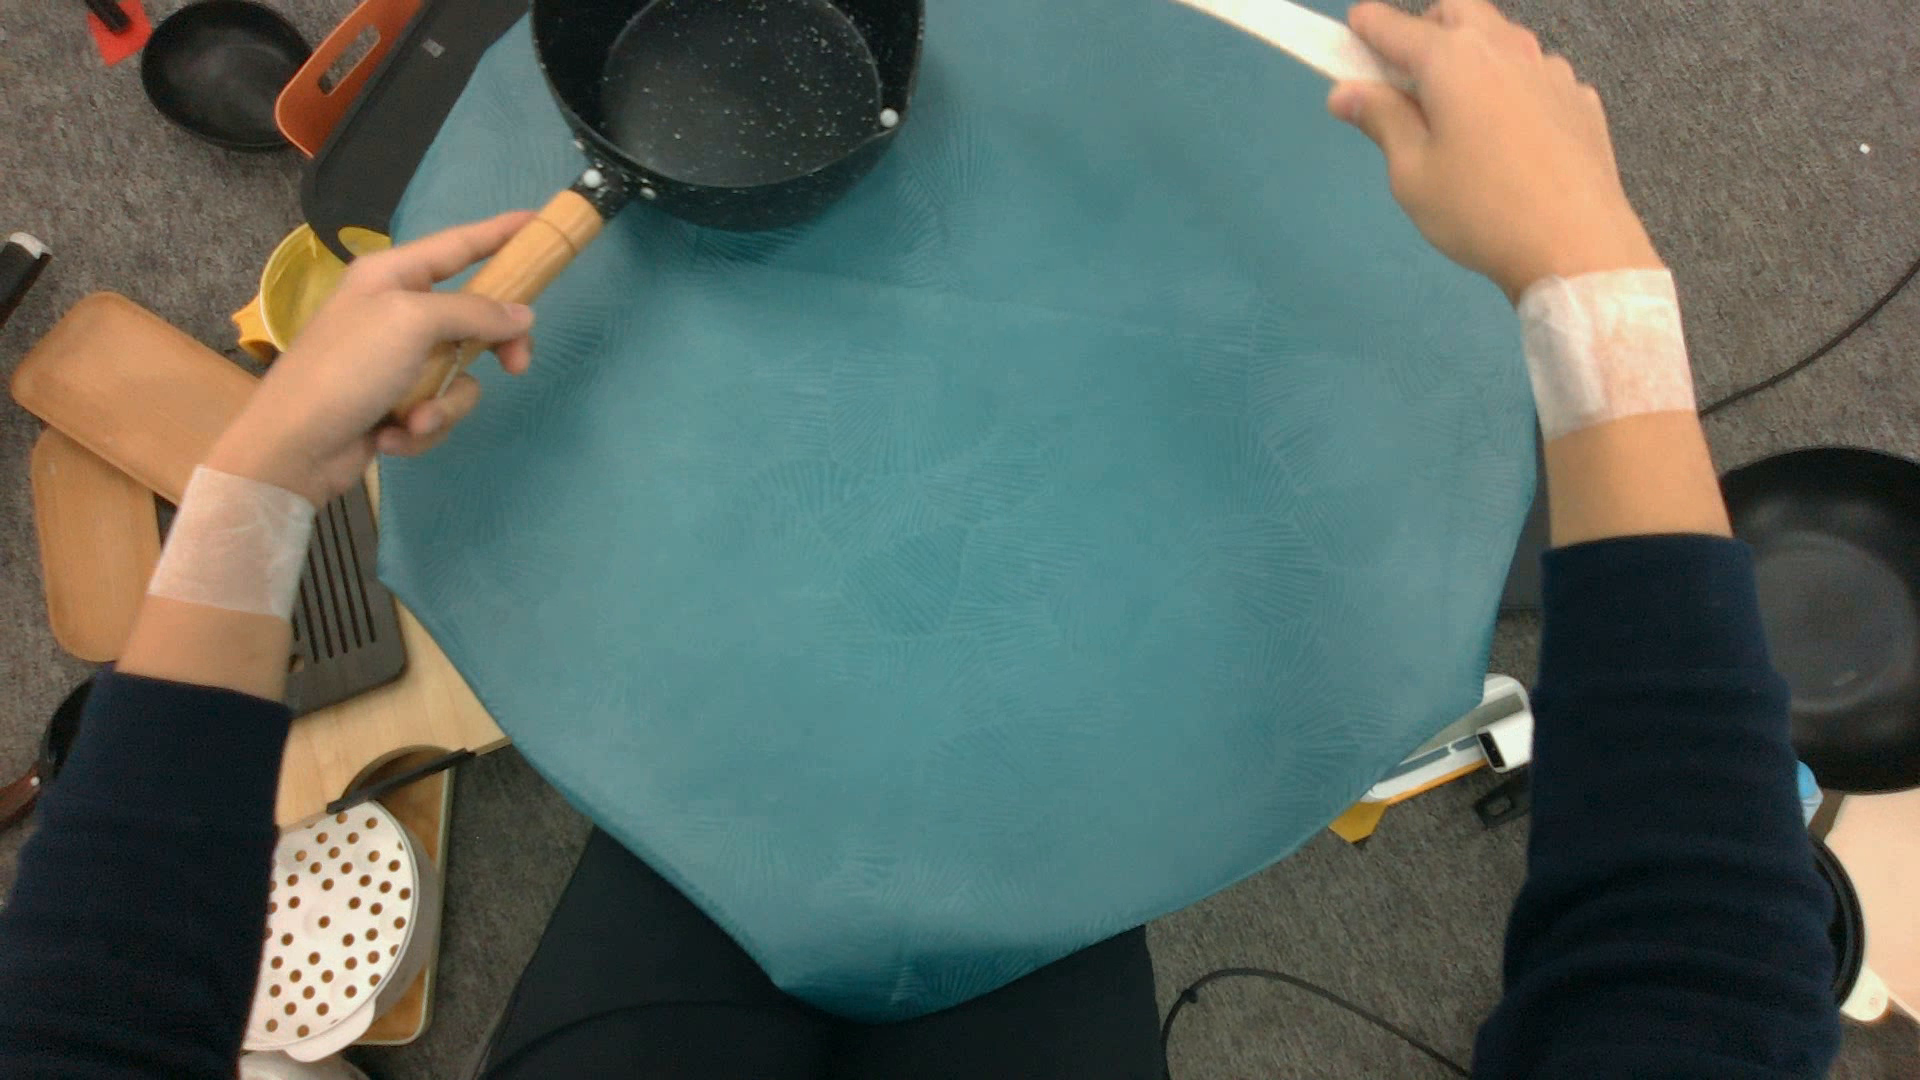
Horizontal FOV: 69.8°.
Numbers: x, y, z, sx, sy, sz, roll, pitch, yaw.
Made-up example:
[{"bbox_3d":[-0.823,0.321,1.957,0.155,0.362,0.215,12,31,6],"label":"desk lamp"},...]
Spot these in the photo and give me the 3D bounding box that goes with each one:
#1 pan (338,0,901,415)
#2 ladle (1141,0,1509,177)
[{"bbox_3d":[-0.164,-0.184,0.661,0.207,0.108,0.343,32,75,2],"label":"pan"},{"bbox_3d":[0.109,-0.234,0.580,0.275,0.069,0.089,35,80,23],"label":"ladle"}]
